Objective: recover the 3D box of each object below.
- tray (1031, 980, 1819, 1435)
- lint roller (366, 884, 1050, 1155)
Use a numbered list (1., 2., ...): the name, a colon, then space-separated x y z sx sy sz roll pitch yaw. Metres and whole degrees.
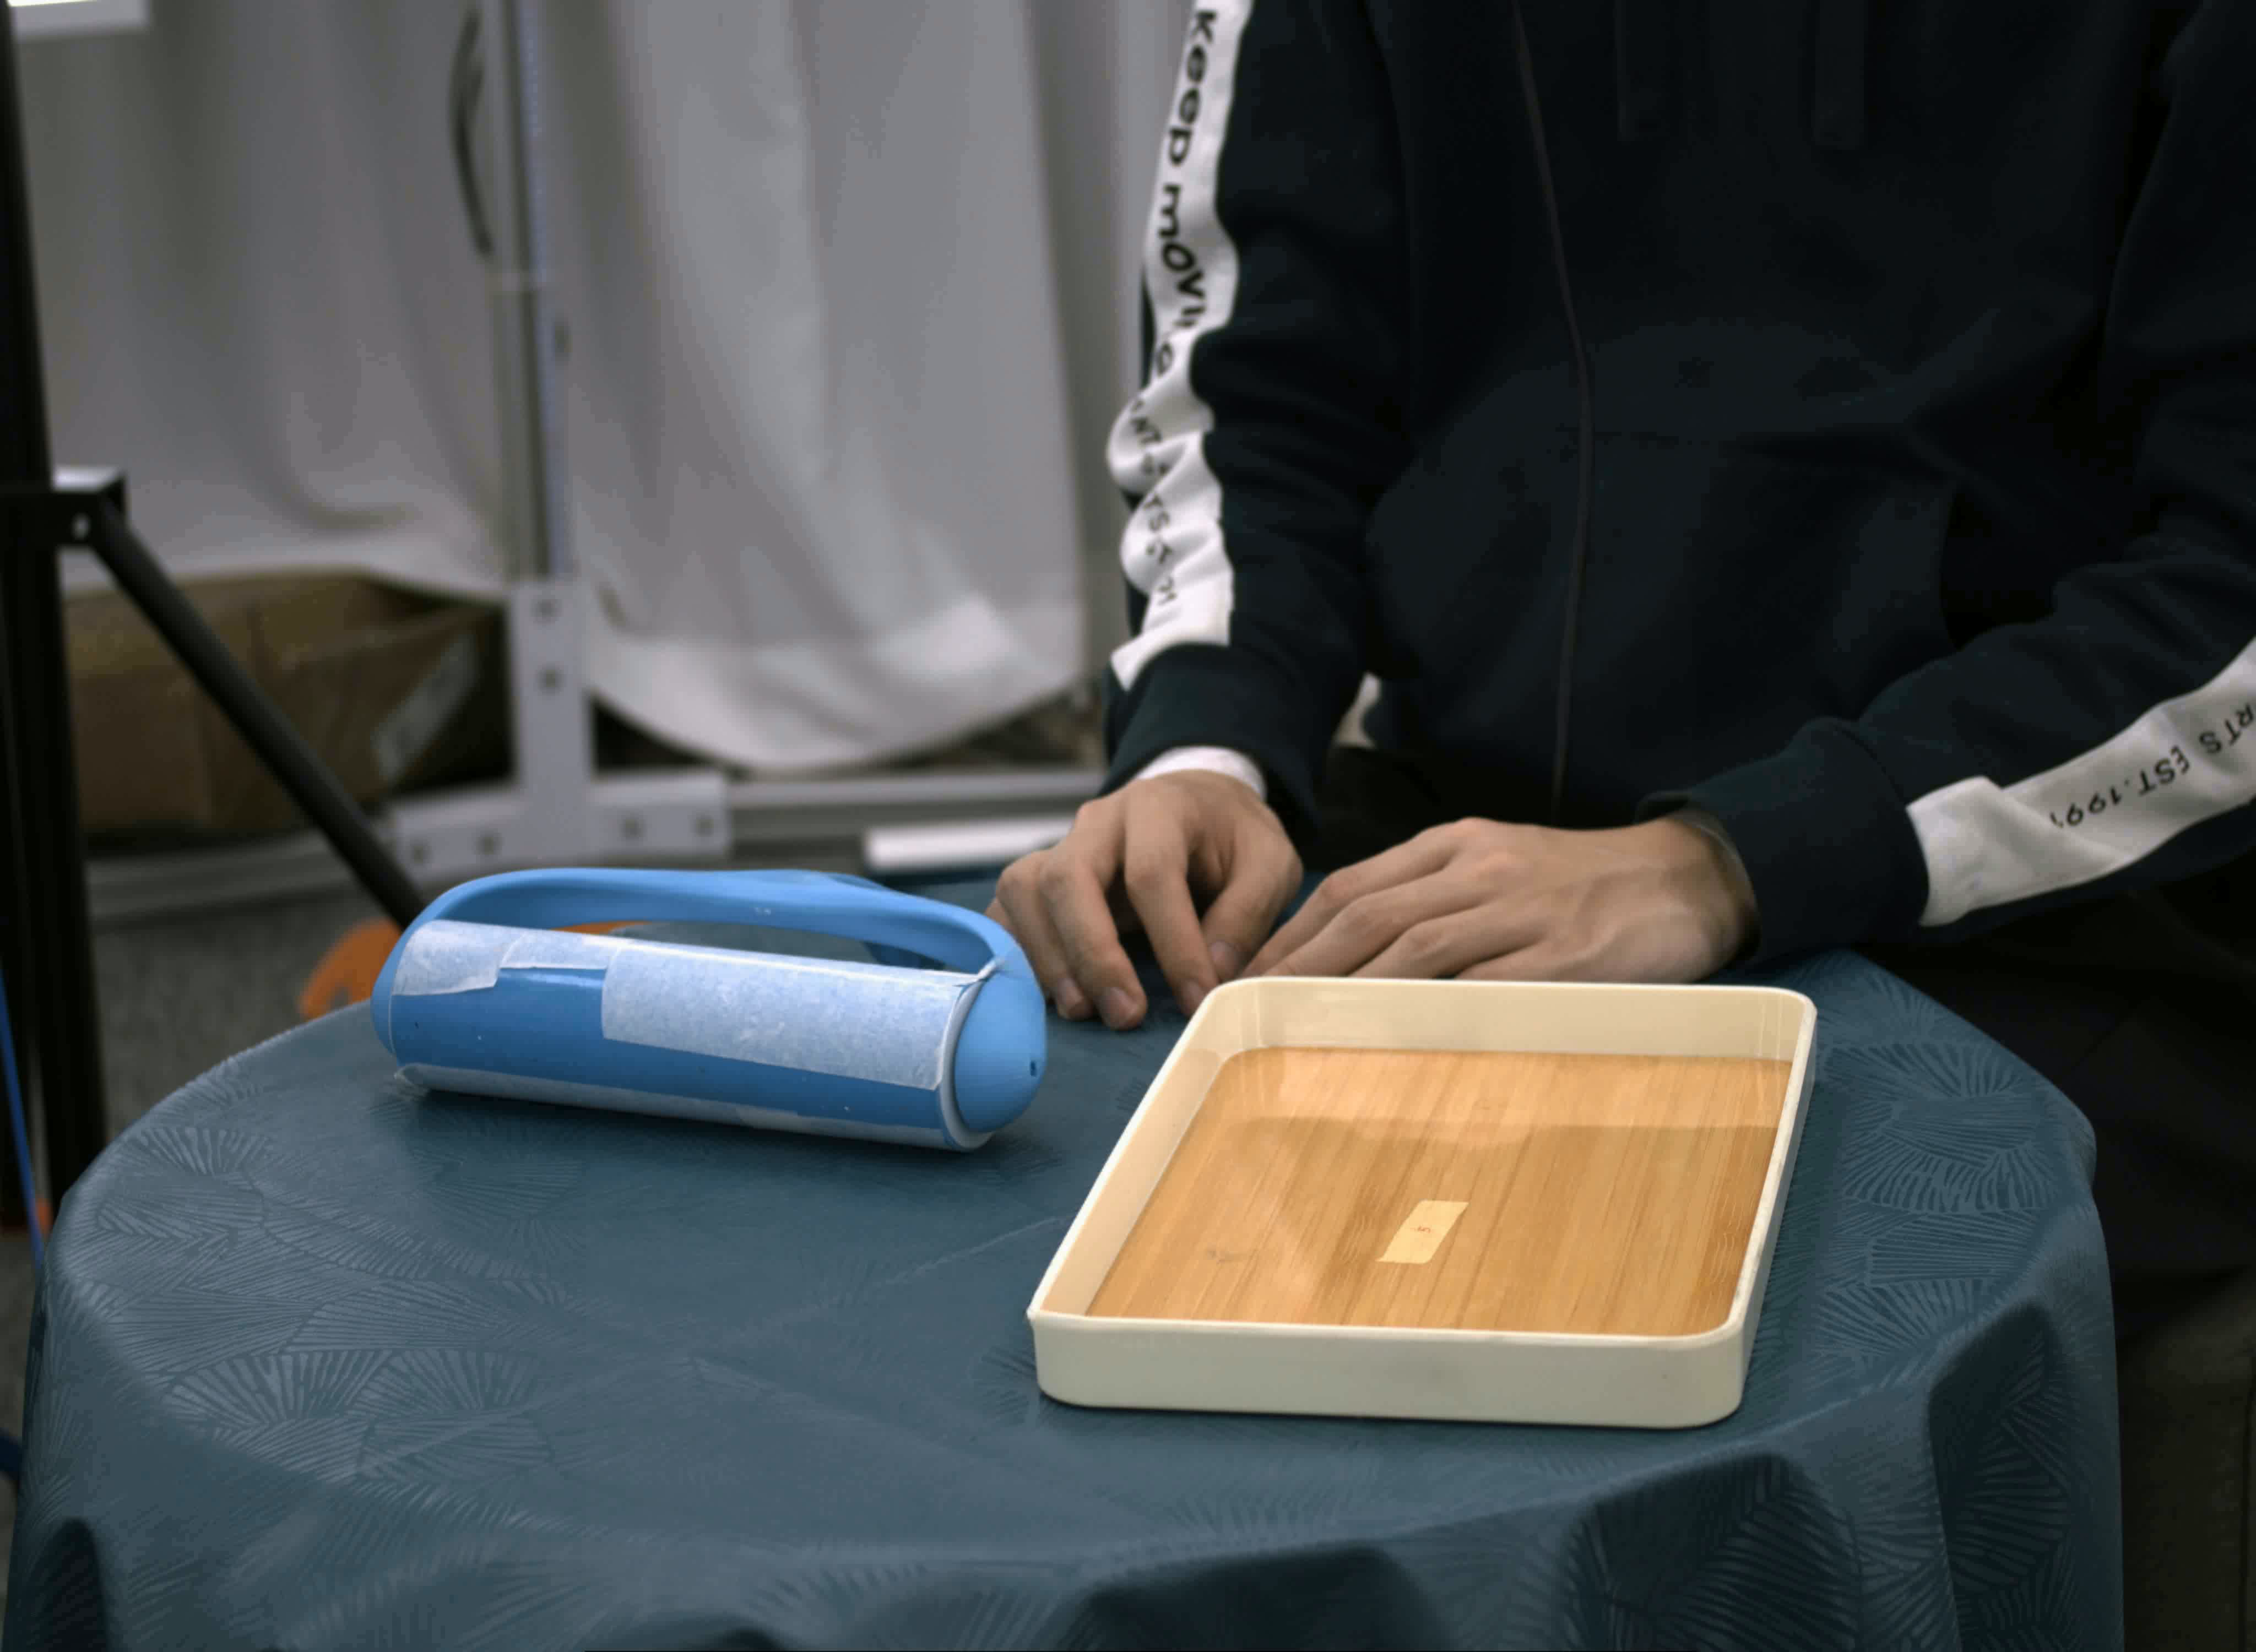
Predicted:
1. tray: 0.093 0.103 1.510 0.193 0.027 0.298 1 16 12
2. lint roller: -0.111 0.049 1.686 0.232 0.068 0.178 2 17 22
